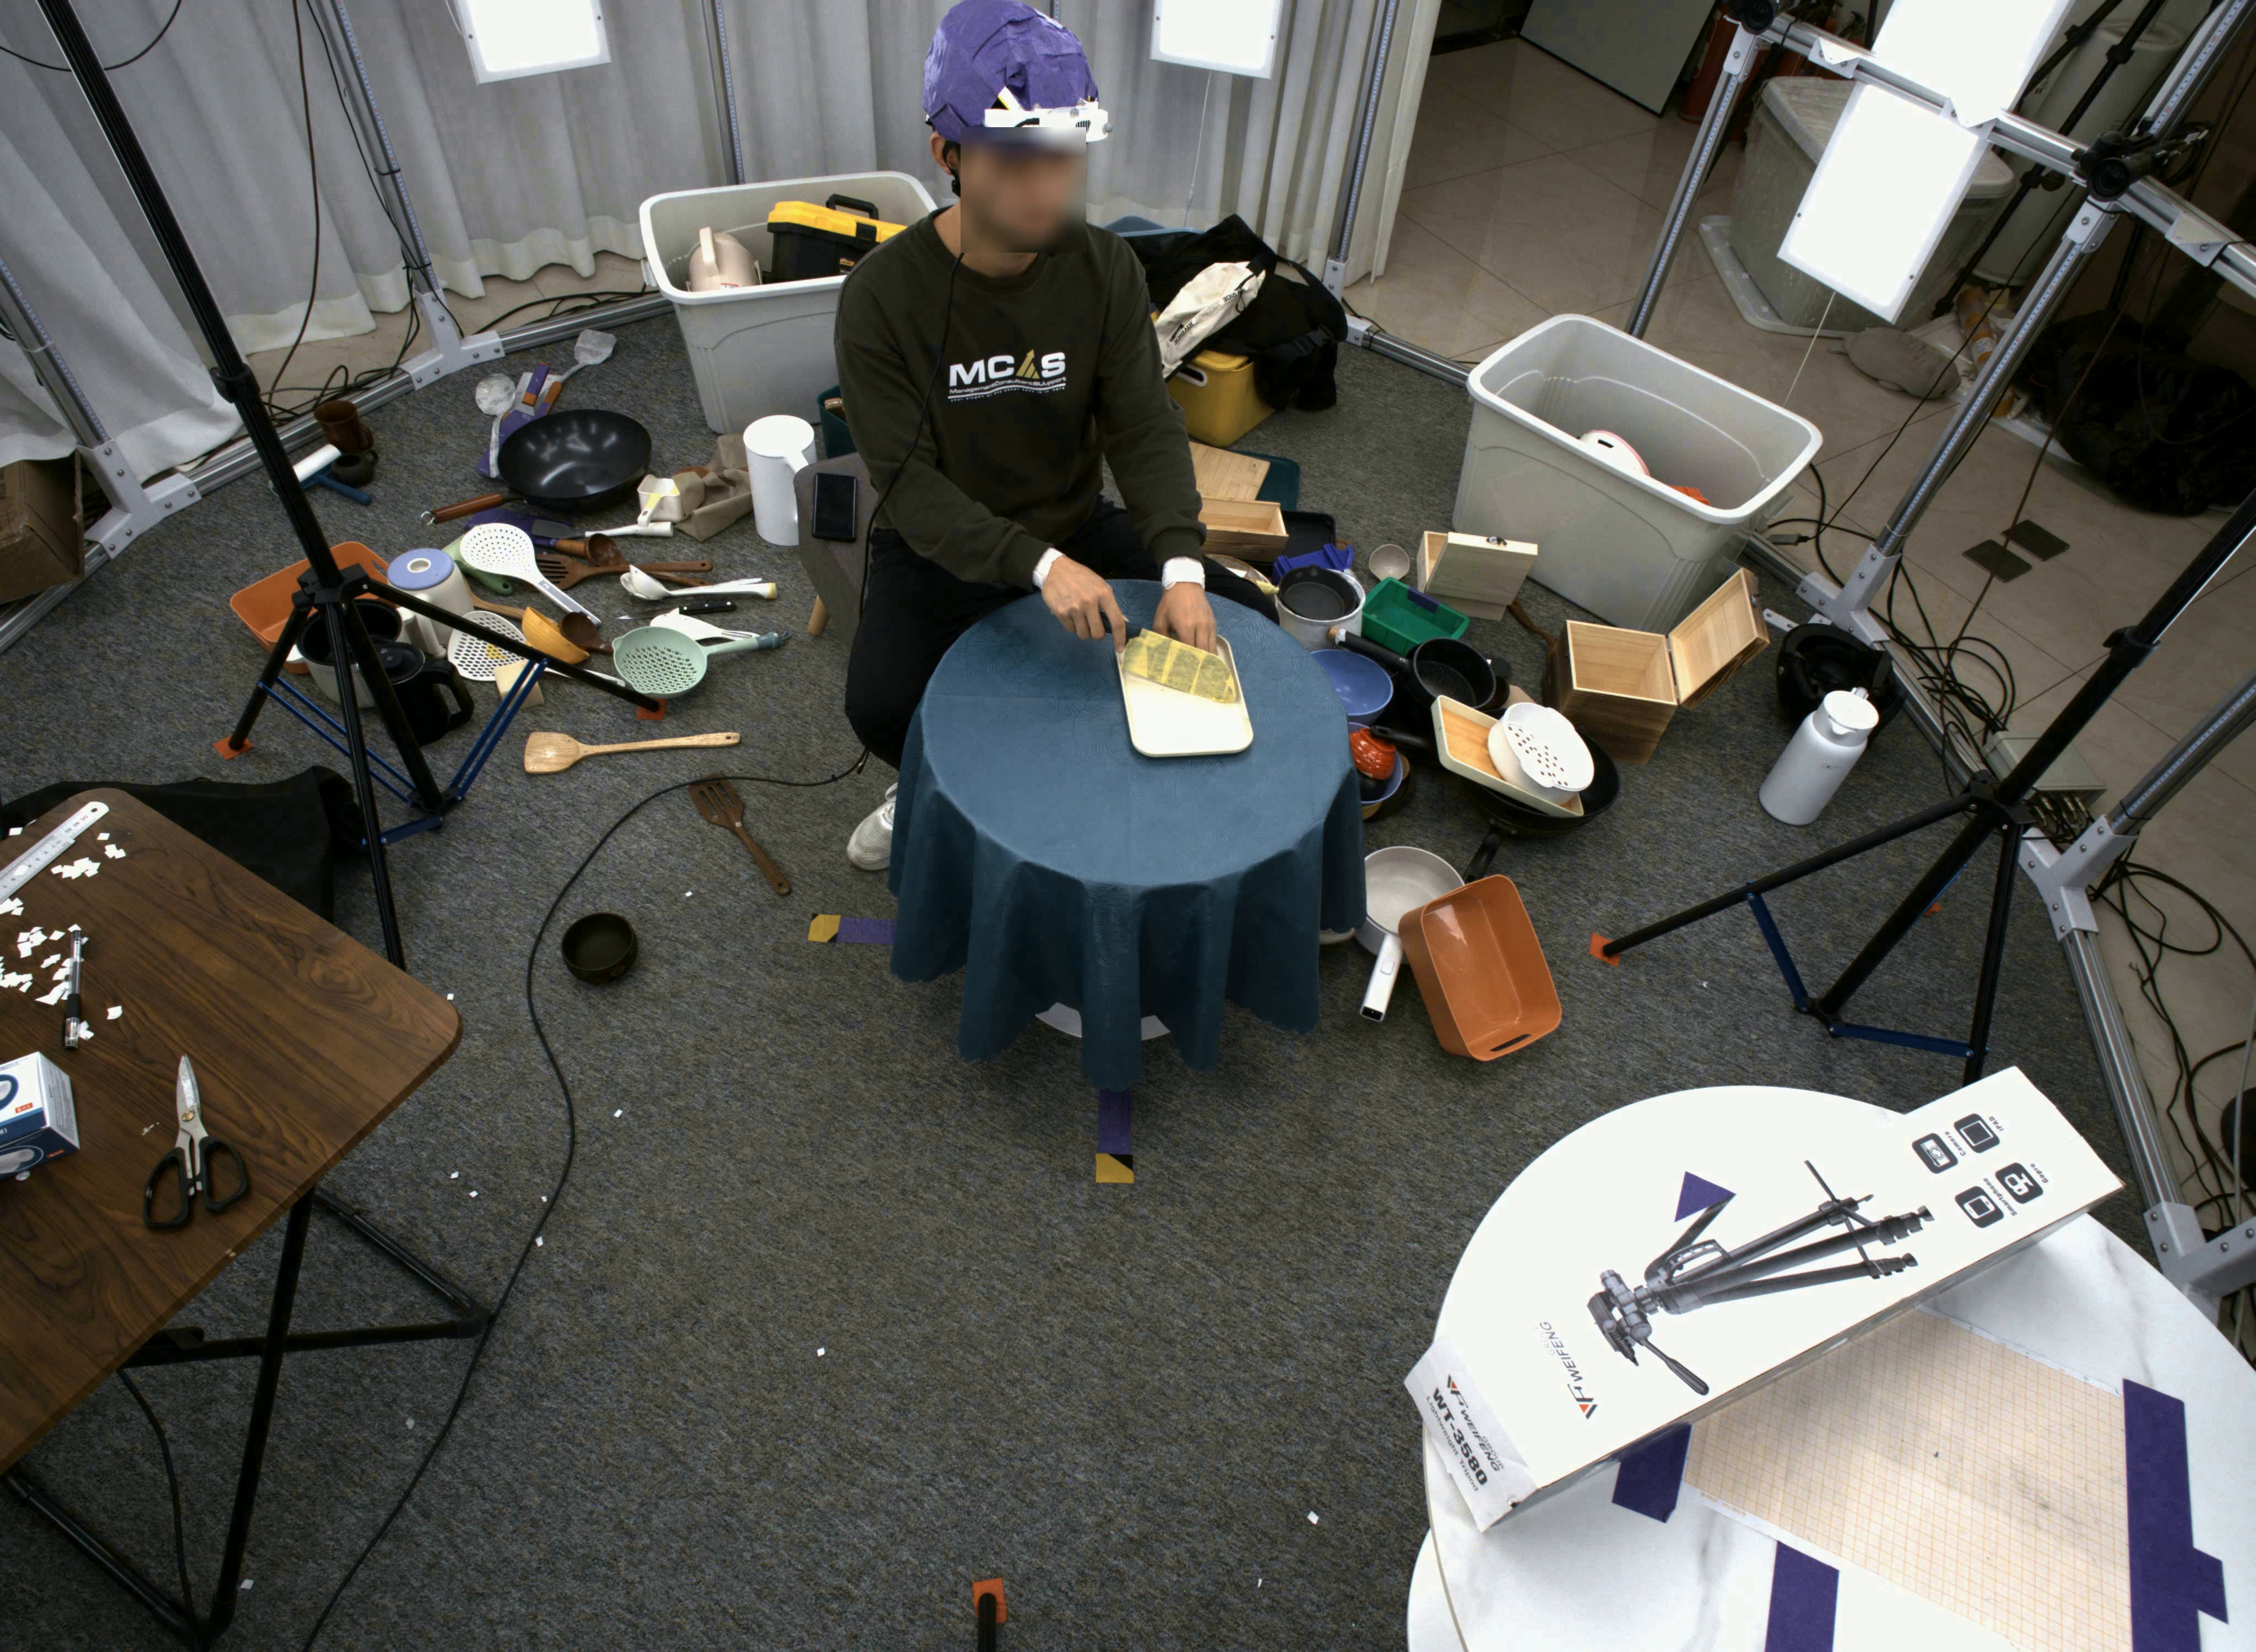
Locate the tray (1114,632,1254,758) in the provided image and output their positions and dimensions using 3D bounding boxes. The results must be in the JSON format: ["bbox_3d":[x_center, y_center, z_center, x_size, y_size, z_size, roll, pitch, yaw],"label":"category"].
[{"bbox_3d":[0.076,-0.188,1.824,0.171,0.017,0.246,-4,49,-7],"label":"tray"}]

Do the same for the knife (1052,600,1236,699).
[{"bbox_3d":[0.022,-0.251,1.825,0.290,0.079,0.027,24,33,7],"label":"knife"}]
